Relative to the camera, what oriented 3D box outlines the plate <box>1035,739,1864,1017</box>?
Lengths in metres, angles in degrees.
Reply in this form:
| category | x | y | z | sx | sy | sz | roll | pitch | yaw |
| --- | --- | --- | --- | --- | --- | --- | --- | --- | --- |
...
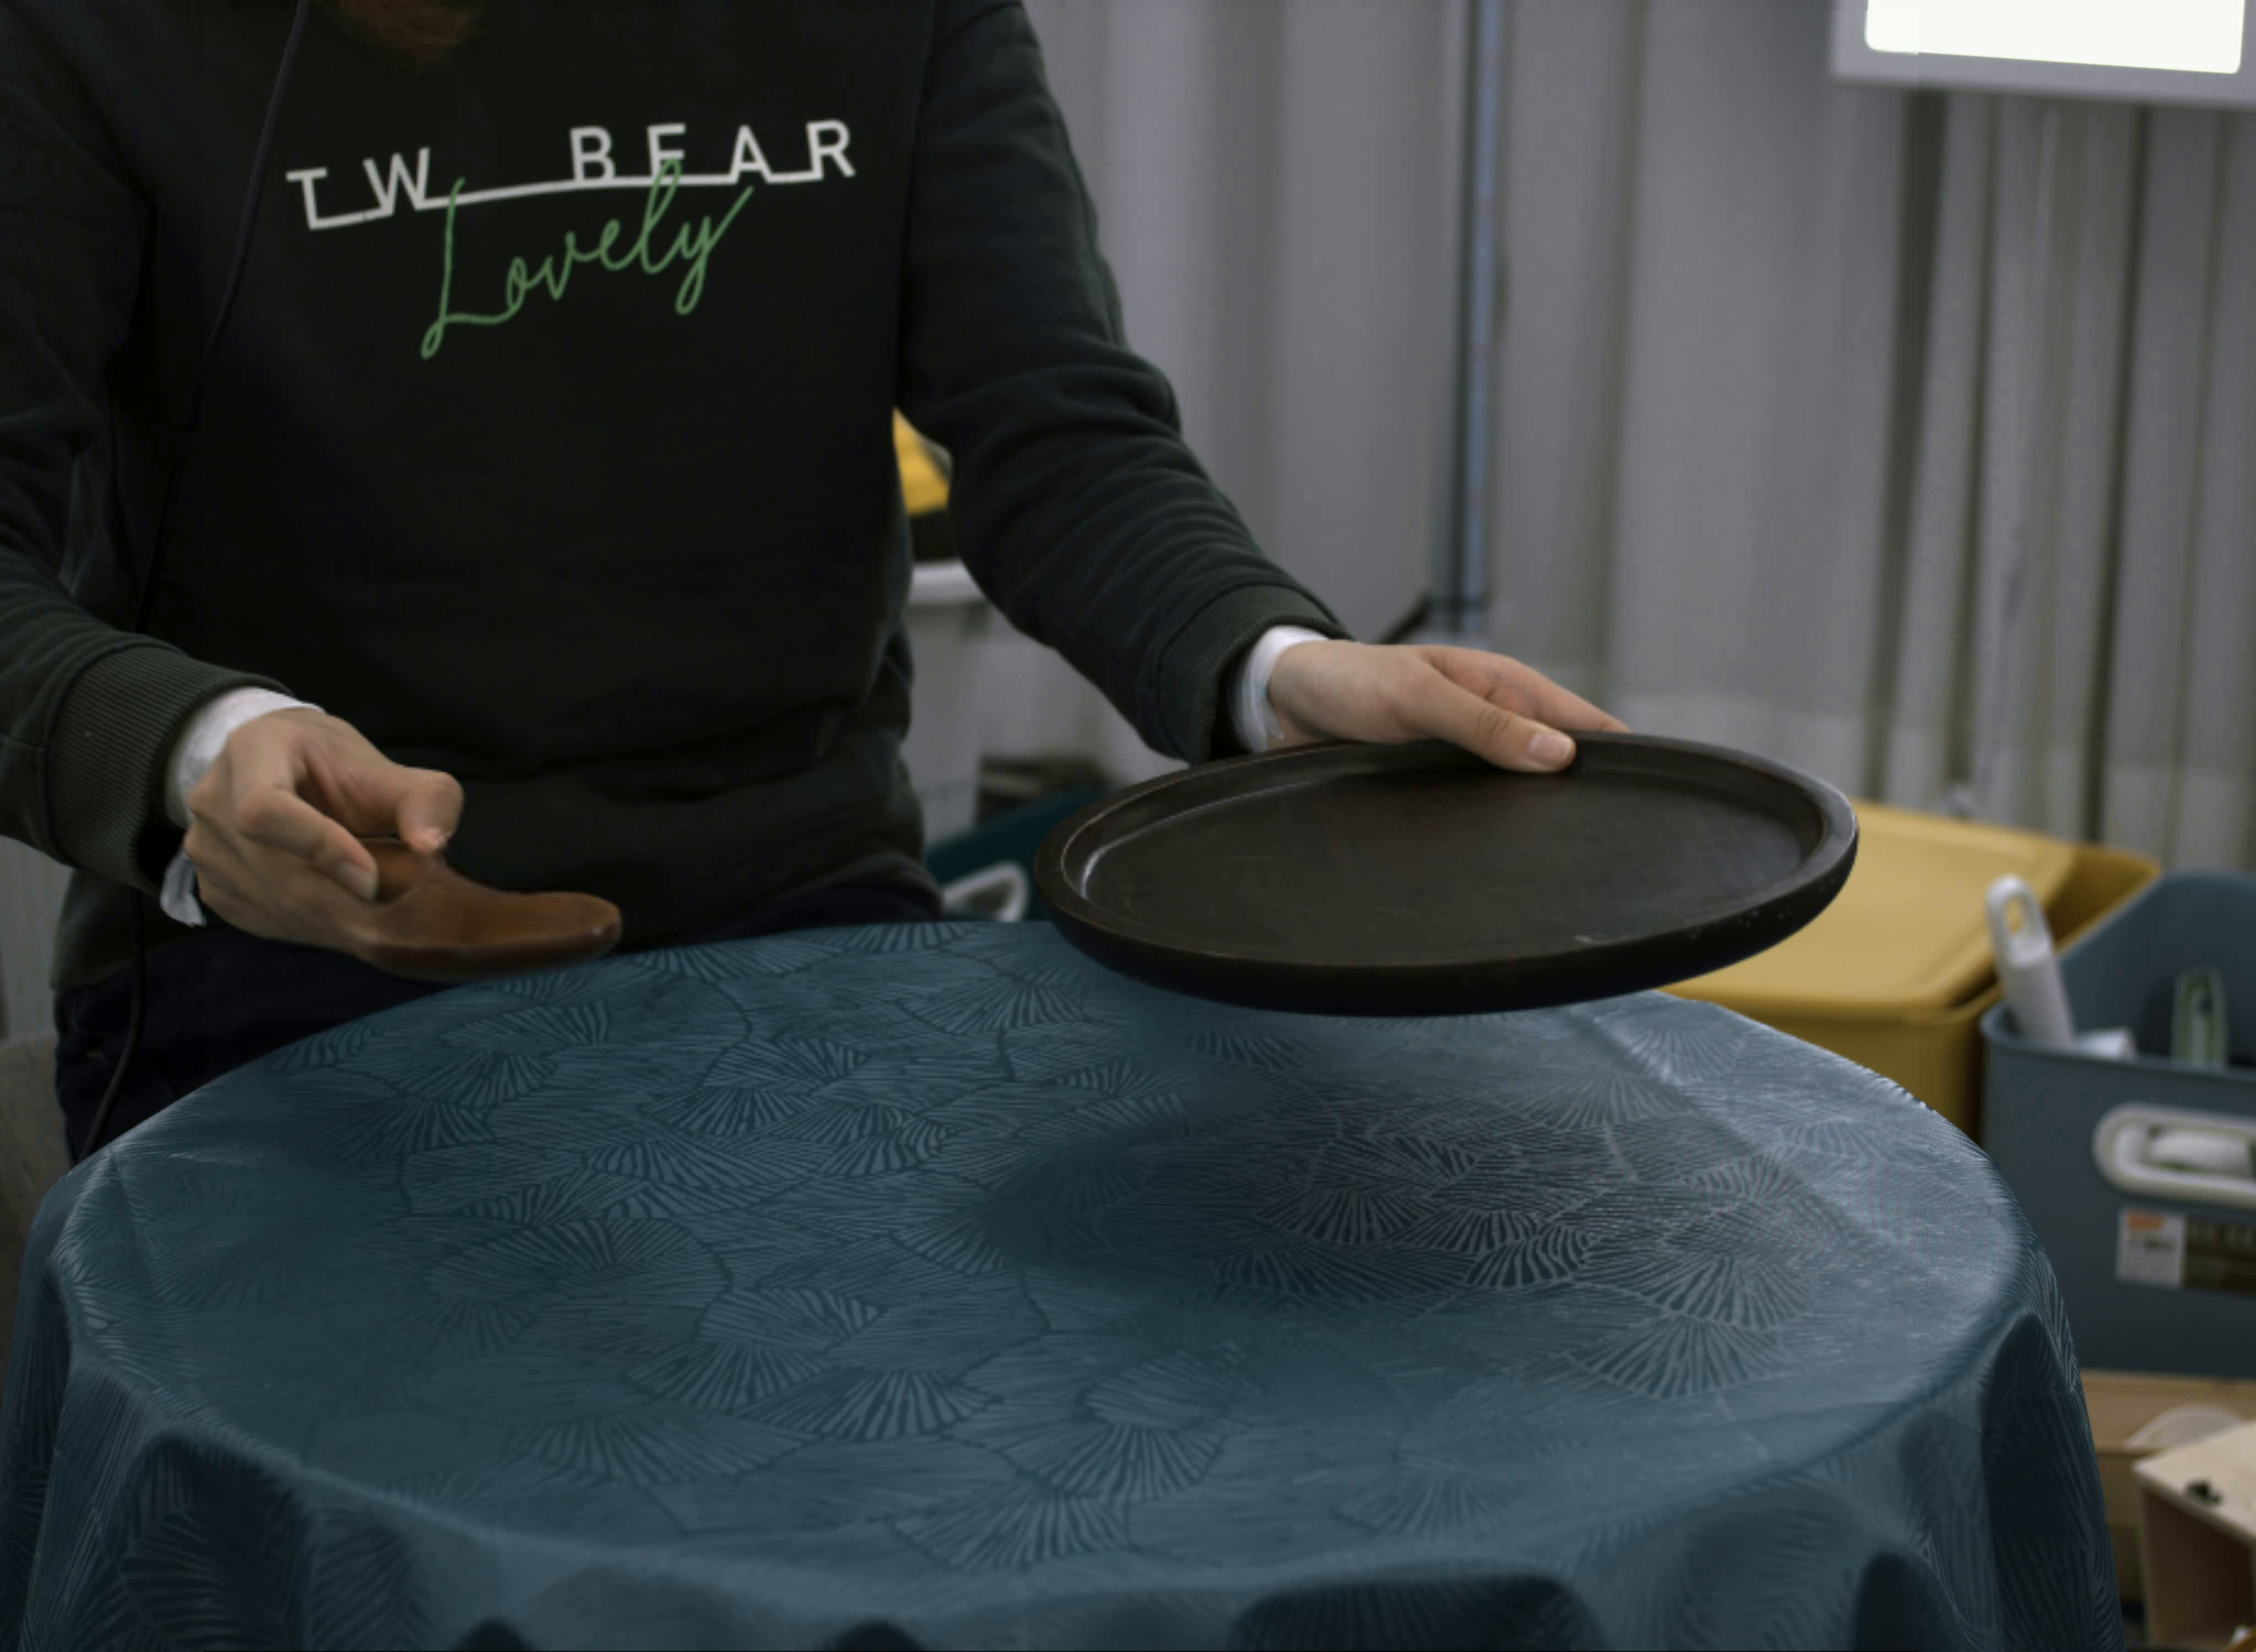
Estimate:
| category | x | y | z | sx | sy | sz | roll | pitch | yaw |
| --- | --- | --- | --- | --- | --- | --- | --- | --- | --- |
| plate | 0.098 | 0.013 | 1.611 | 0.254 | 0.029 | 0.253 | -2 | 17 | 1 |

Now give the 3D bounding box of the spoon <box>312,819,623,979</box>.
| category | x | y | z | sx | sy | sz | roll | pitch | yaw |
| --- | --- | --- | --- | --- | --- | --- | --- | --- | --- |
| spoon | -0.203 | 0.021 | 1.529 | 0.075 | 0.017 | 0.213 | -6 | 11 | -21 |
